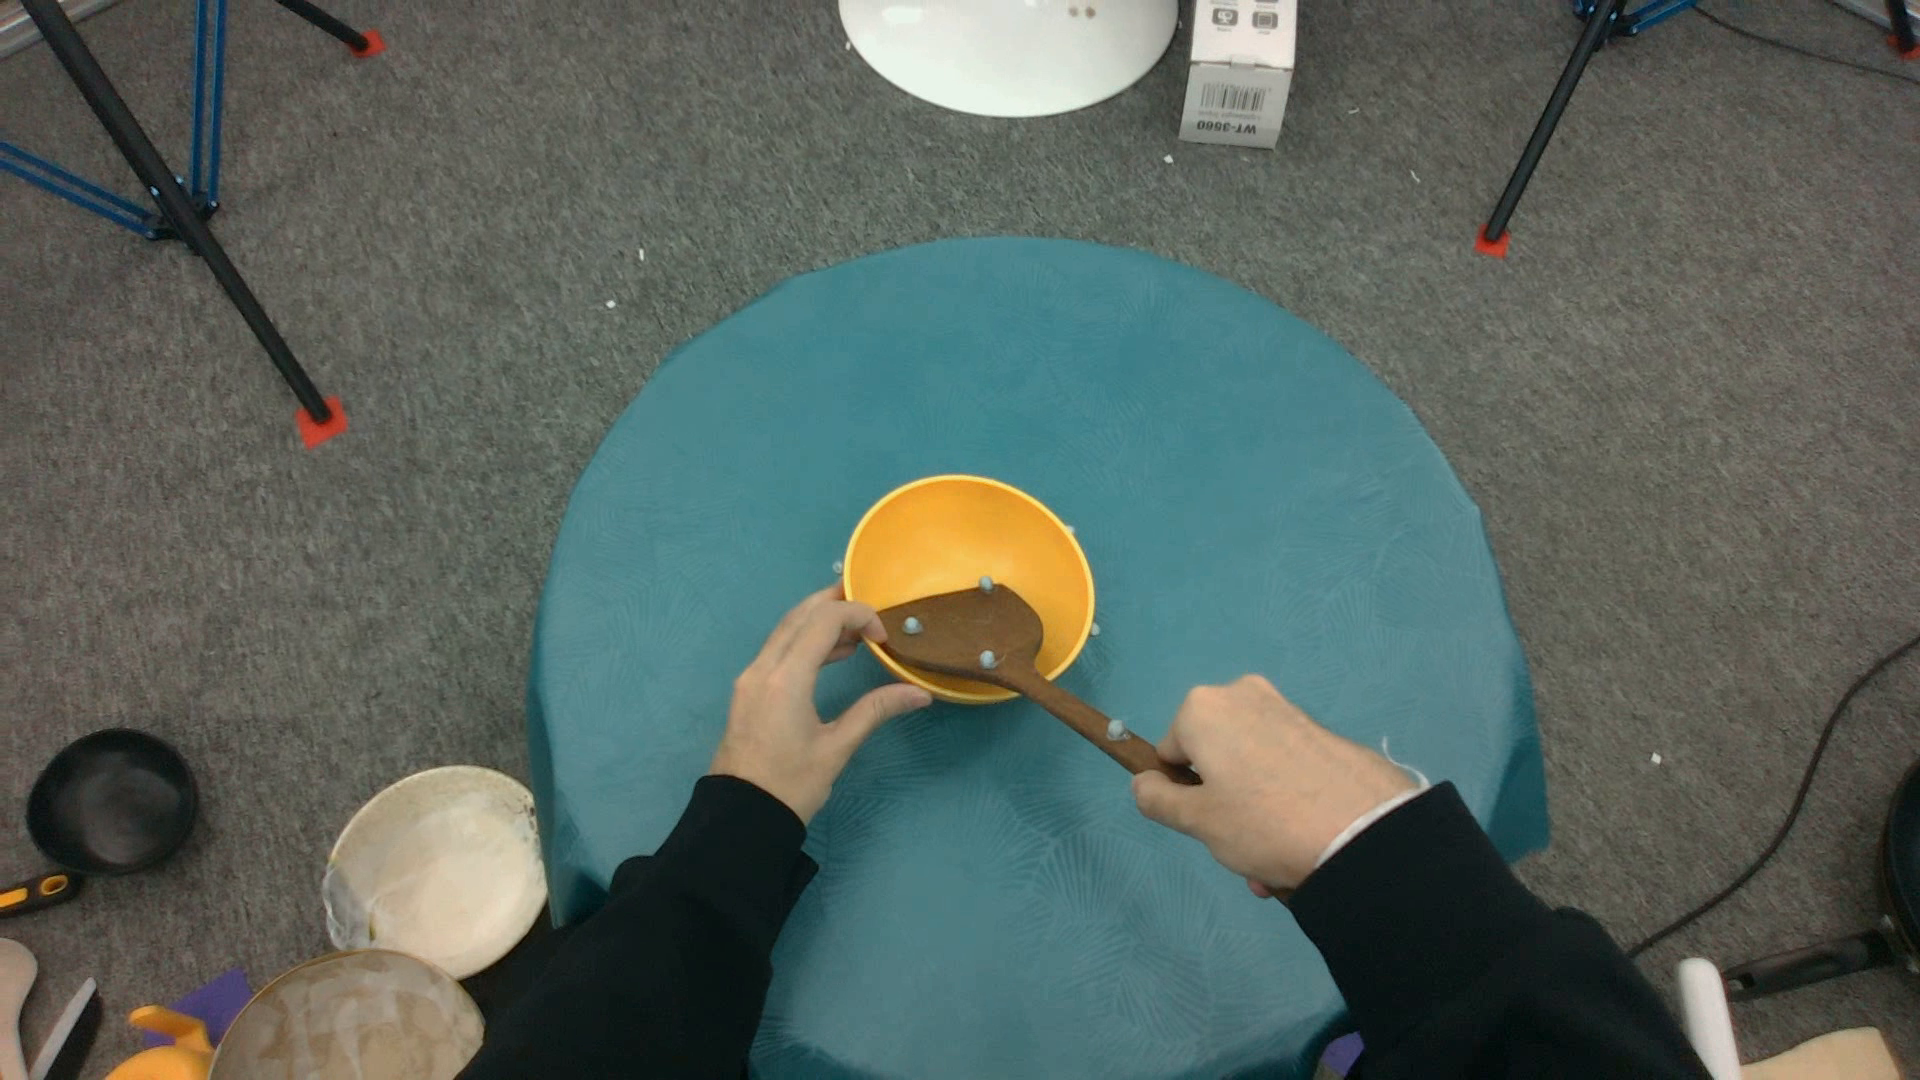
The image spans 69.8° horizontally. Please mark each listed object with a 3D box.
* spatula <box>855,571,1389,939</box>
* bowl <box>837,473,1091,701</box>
[{"bbox_3d":[0.061,0.083,0.650,0.096,0.016,0.386,-14,22,-24],"label":"spatula"},{"bbox_3d":[0.000,0.036,0.802,0.145,0.060,0.146,4,59,-7],"label":"bowl"}]
